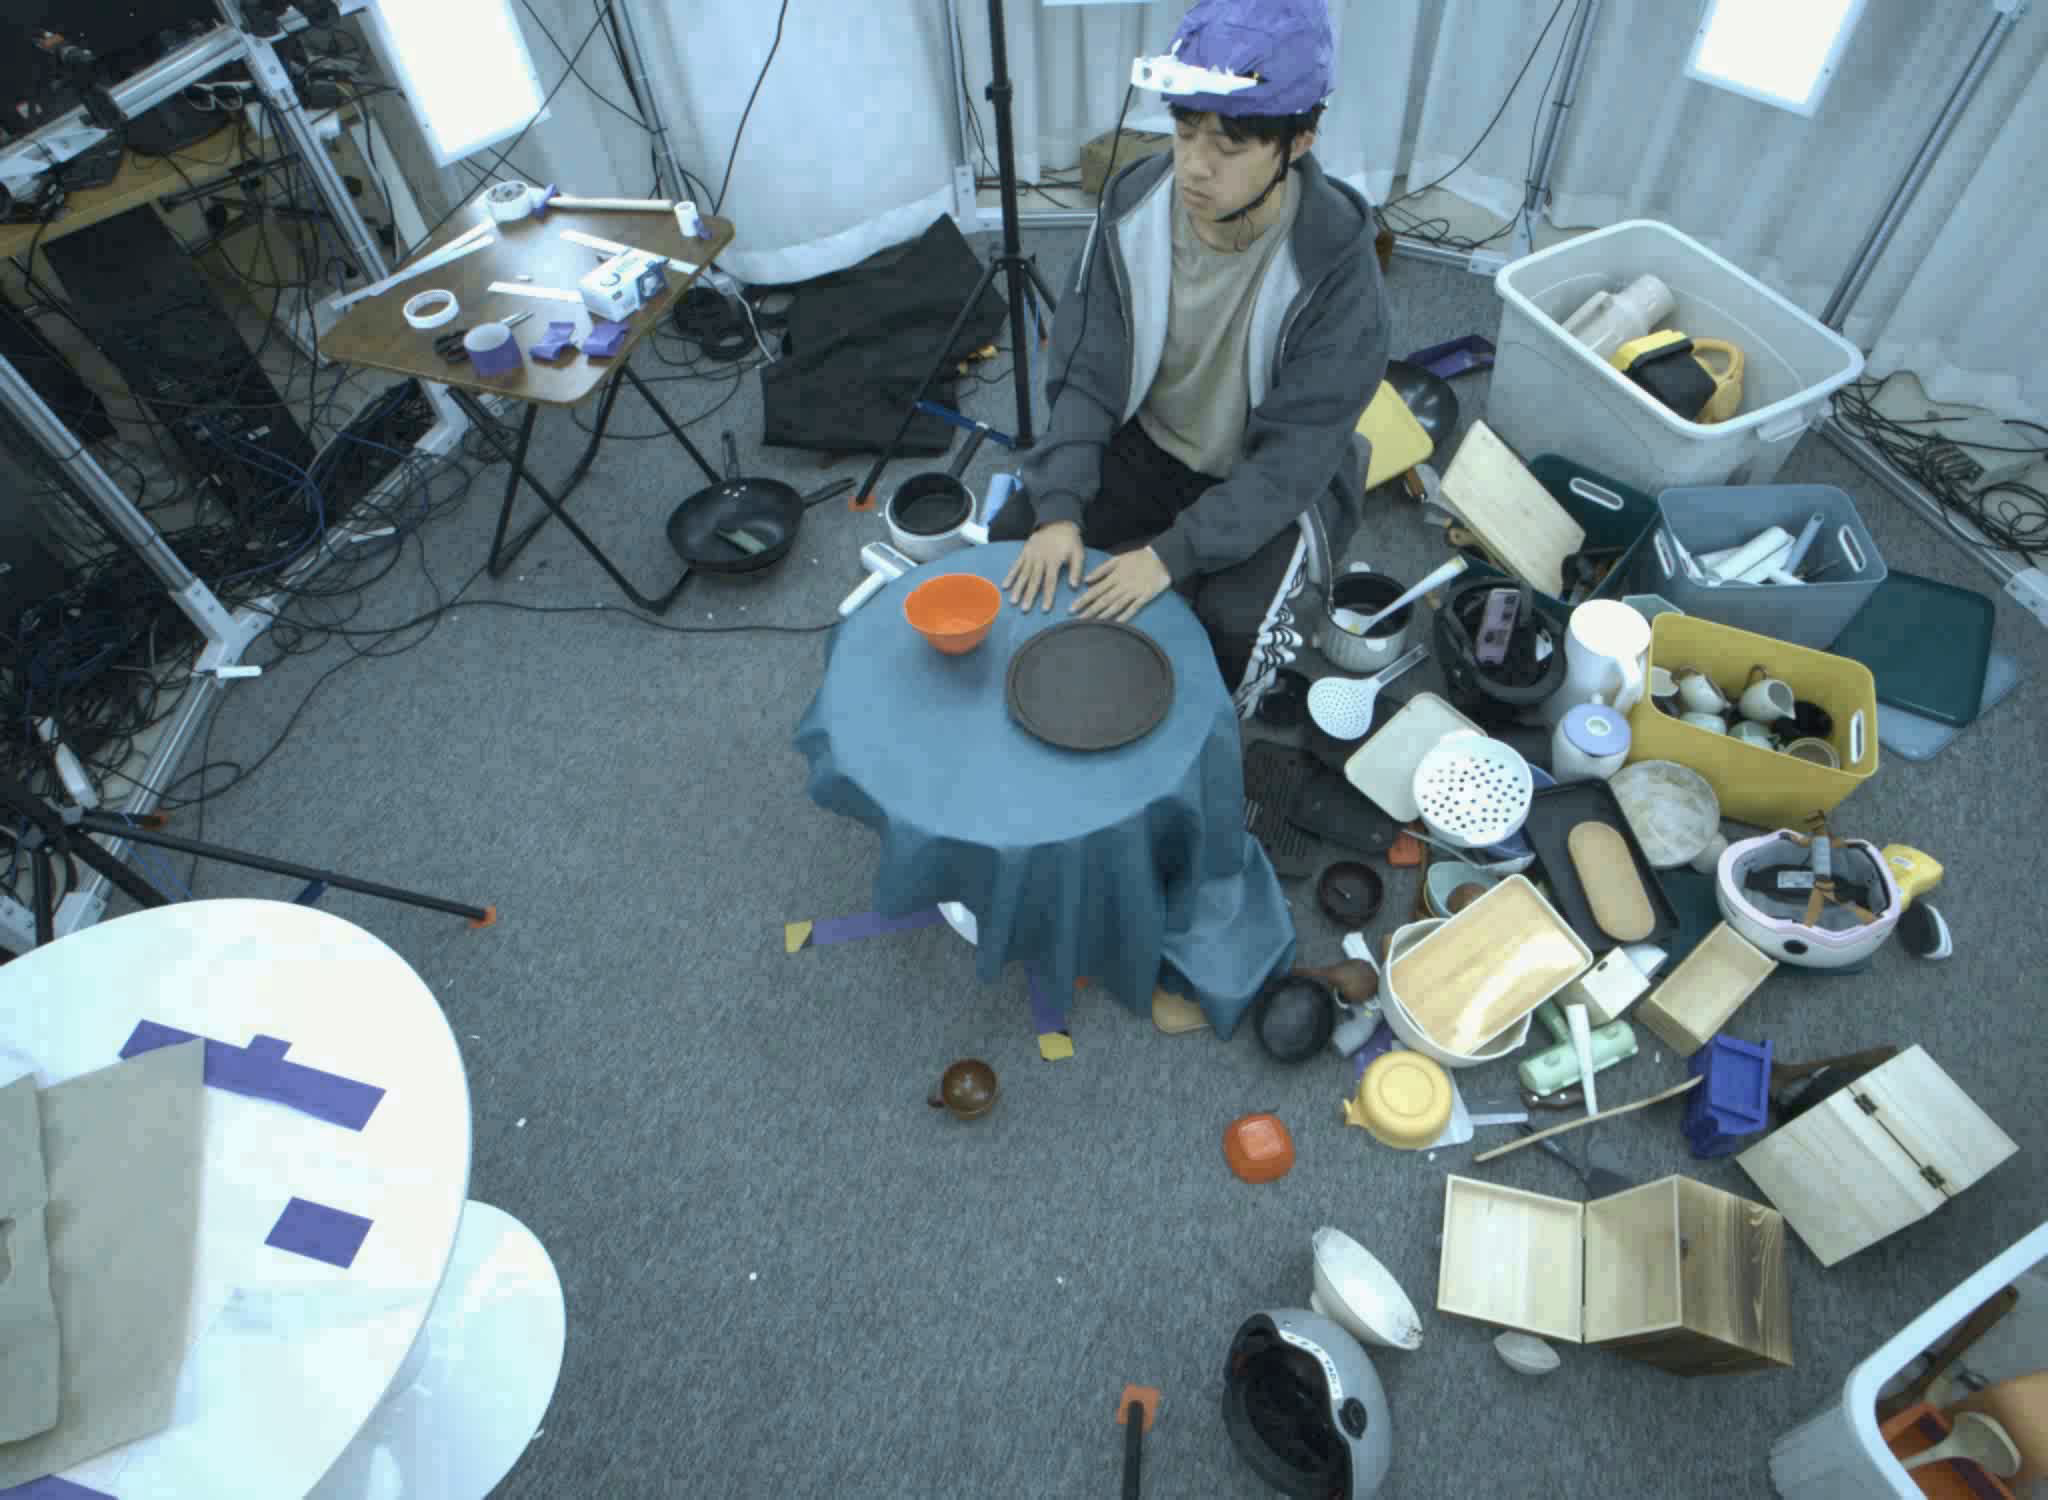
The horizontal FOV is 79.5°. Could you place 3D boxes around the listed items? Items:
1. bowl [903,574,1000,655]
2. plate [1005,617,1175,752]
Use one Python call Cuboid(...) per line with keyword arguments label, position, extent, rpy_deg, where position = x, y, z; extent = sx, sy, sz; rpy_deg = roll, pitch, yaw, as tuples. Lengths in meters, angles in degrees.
Cuboid(label="bowl", position=(-0.106, -0.194, 1.870), extent=(0.148, 0.106, 0.146), rpy_deg=(-1, 54, 3))
Cuboid(label="plate", position=(0.097, -0.099, 1.843), extent=(0.254, 0.029, 0.252), rpy_deg=(-1, 54, 3))
